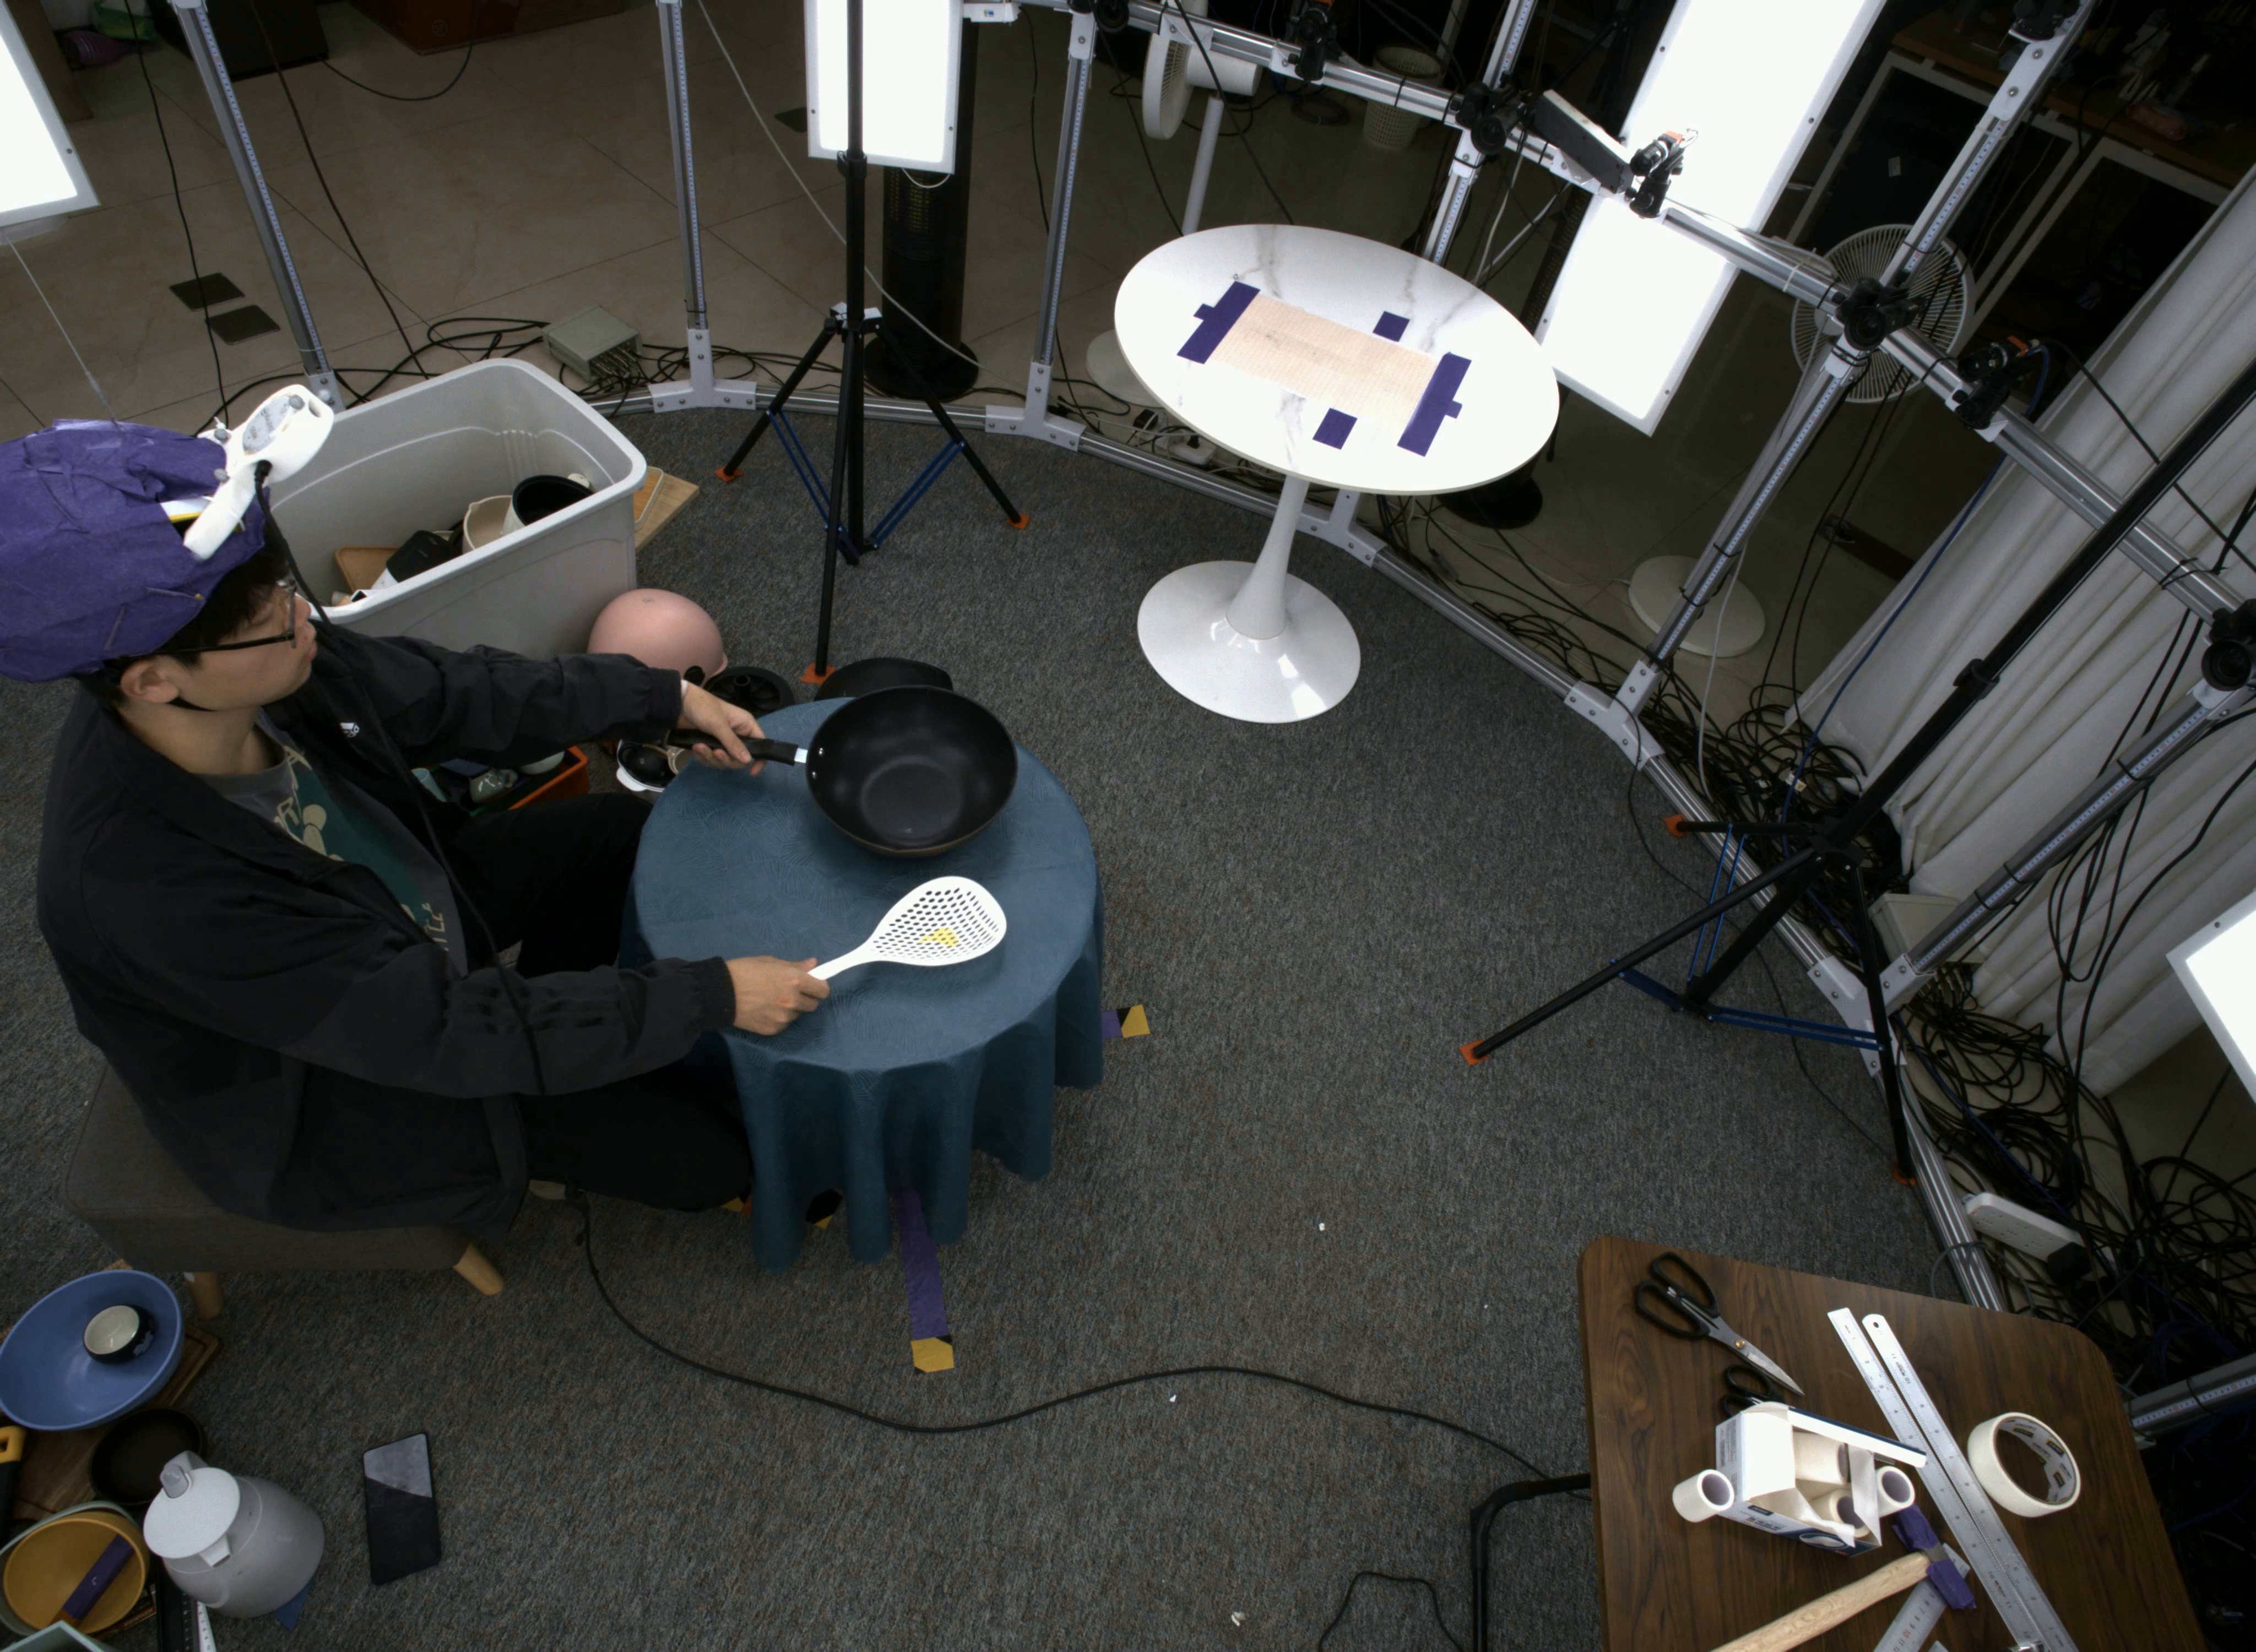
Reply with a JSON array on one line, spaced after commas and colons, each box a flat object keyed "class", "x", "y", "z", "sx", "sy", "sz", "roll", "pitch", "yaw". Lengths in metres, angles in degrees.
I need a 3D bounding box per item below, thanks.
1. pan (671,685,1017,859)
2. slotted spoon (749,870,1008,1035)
[{"class": "pan", "x": -0.378, "y": -0.070, "z": 1.737, "sx": 0.460, "sy": 0.089, "sz": 0.283, "roll": 7, "pitch": 53, "yaw": -4}, {"class": "slotted spoon", "x": -0.309, "y": 0.159, "z": 1.598, "sx": 0.350, "sy": 0.051, "sz": 0.133, "roll": -23, "pitch": 58, "yaw": -32}]
